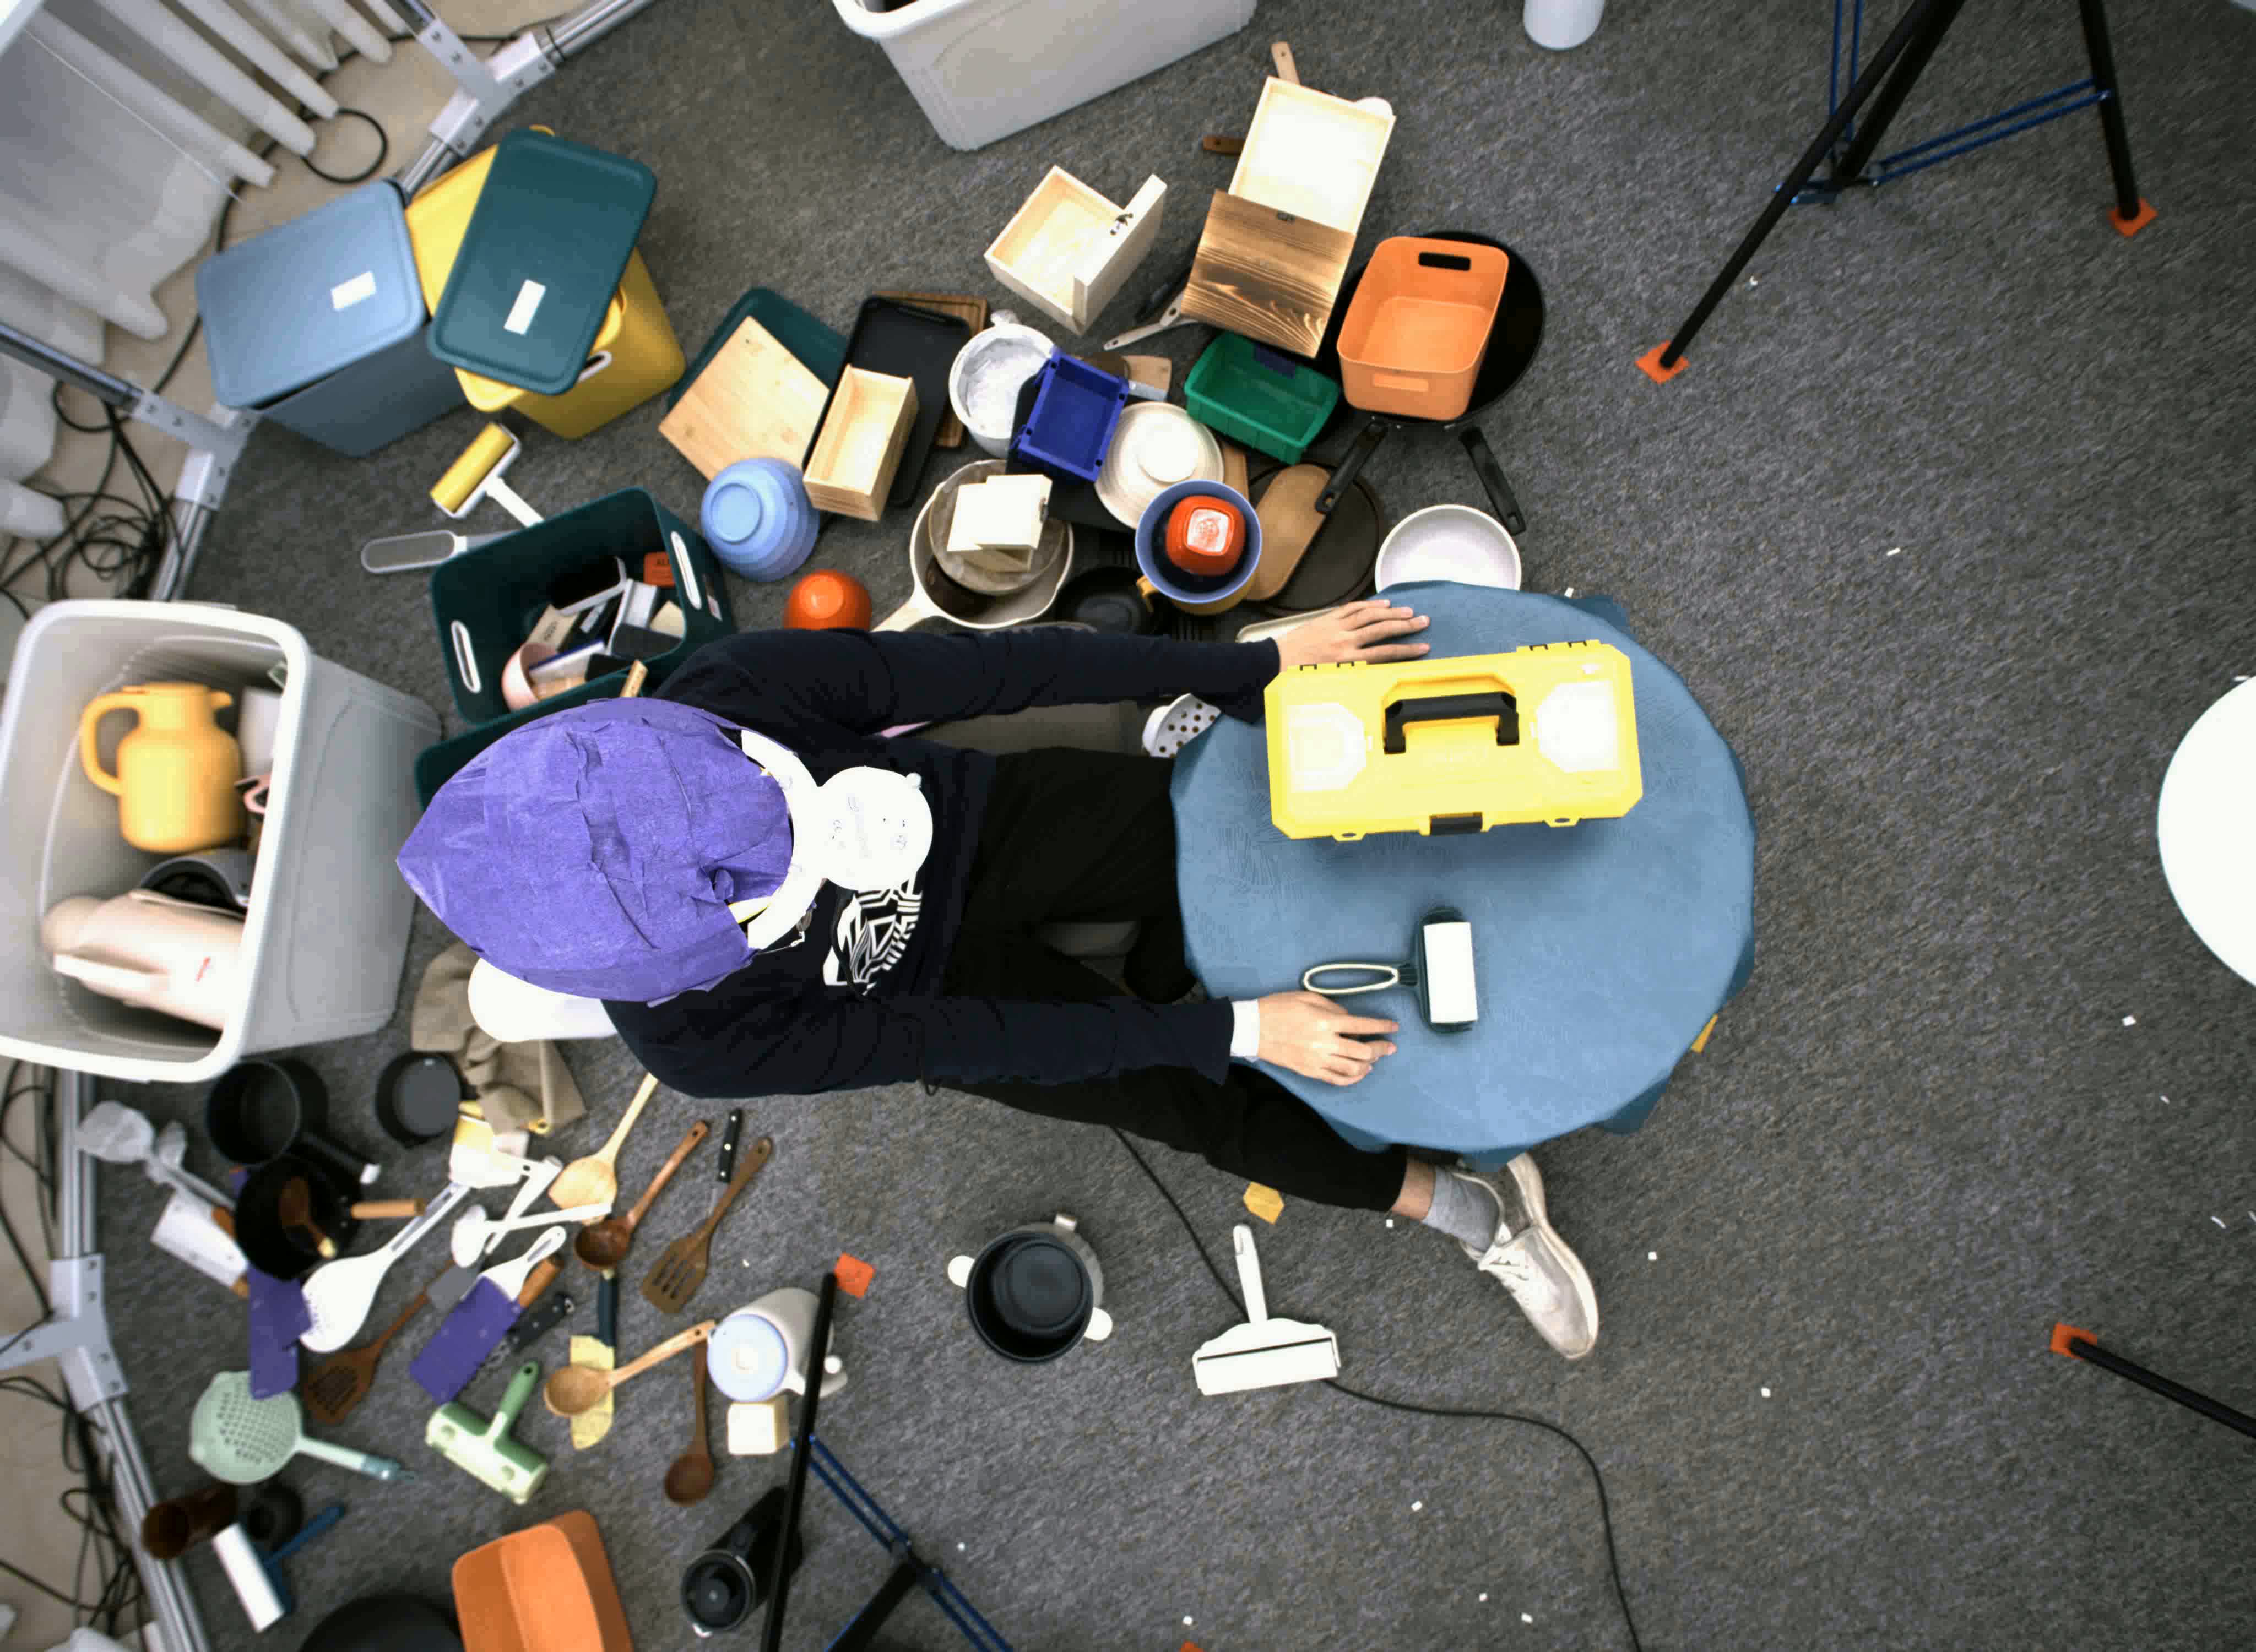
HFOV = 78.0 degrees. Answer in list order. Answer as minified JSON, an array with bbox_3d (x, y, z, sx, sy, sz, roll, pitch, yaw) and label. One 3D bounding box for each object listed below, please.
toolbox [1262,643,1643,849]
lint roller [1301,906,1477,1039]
[{"bbox_3d":[0.317,-0.075,1.371,0.353,0.173,0.180,-4,84,11],"label":"toolbox"},{"bbox_3d":[0.267,0.155,1.436,0.181,0.048,0.134,-5,86,14],"label":"lint roller"}]
